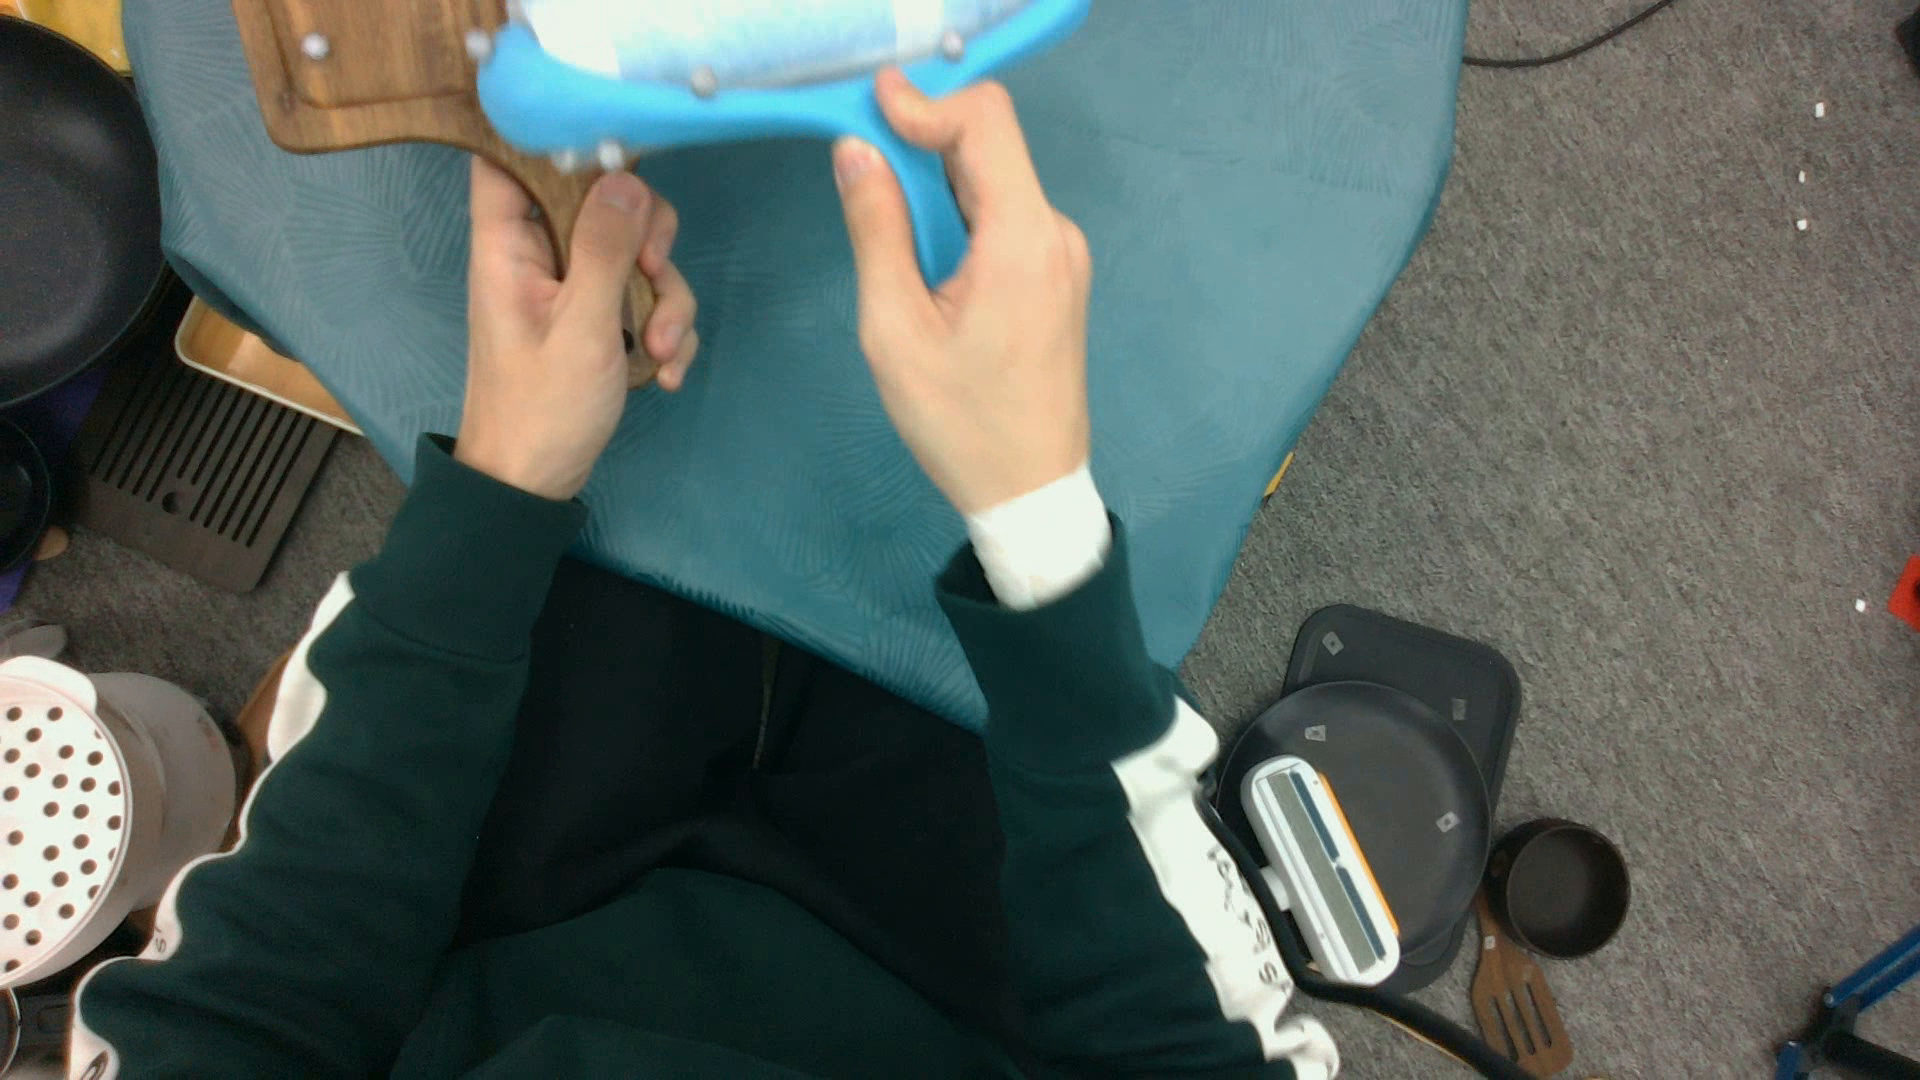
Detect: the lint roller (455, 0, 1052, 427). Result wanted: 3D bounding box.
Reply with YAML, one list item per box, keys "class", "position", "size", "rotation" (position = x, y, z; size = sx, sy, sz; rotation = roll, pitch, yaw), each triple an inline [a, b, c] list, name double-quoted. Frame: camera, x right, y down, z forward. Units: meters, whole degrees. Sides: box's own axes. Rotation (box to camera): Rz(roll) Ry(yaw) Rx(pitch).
- class: "lint roller"
  position: [-0.035, -0.128, 0.482]
  size: [0.230, 0.067, 0.180]
  rotation: [-28, 77, -28]

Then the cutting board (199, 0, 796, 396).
- class: "cutting board"
  position: [-0.163, -0.221, 0.477]
  size: [0.201, 0.023, 0.351]
  rotation: [-18, 109, -22]
